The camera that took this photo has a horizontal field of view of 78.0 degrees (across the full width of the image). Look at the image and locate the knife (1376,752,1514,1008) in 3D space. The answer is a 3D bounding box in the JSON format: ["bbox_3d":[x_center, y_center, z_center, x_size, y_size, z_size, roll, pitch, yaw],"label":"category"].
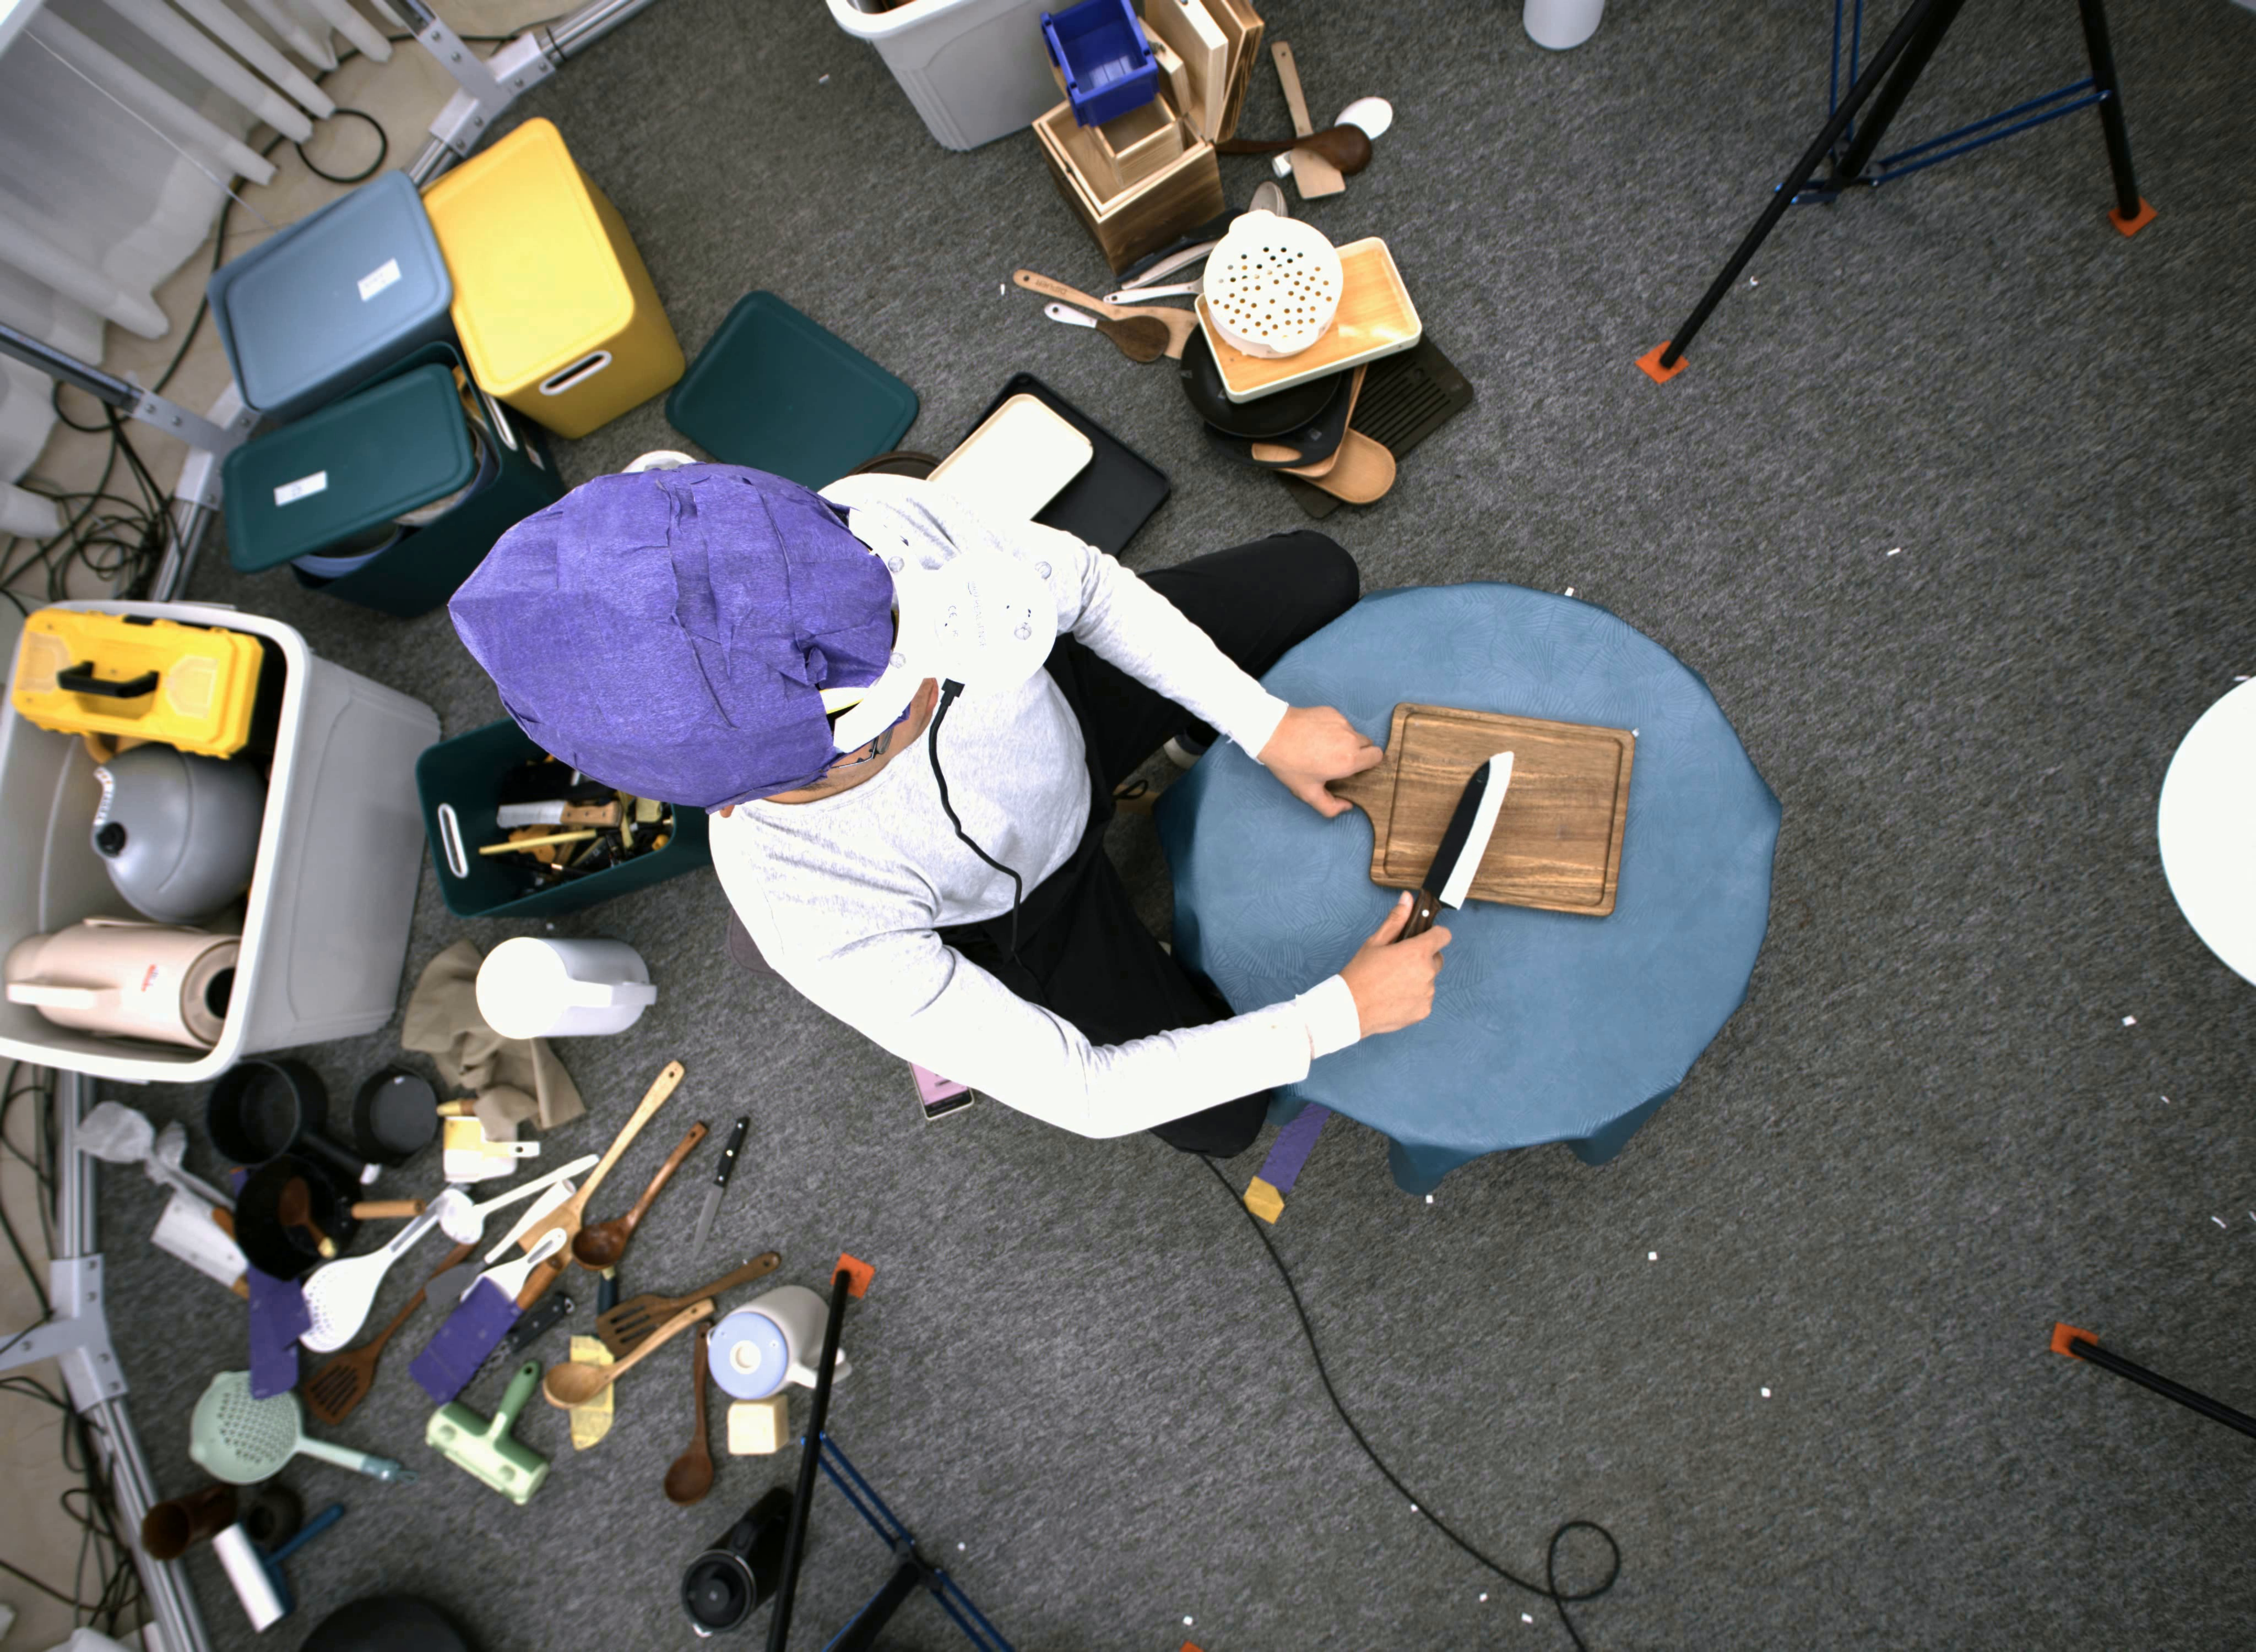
[{"bbox_3d":[0.317,0.052,1.370,0.050,0.020,0.289,27,90,-5],"label":"knife"}]

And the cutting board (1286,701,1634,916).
[{"bbox_3d":[0.341,-0.028,1.440,0.353,0.023,0.200,8,88,10],"label":"cutting board"}]
